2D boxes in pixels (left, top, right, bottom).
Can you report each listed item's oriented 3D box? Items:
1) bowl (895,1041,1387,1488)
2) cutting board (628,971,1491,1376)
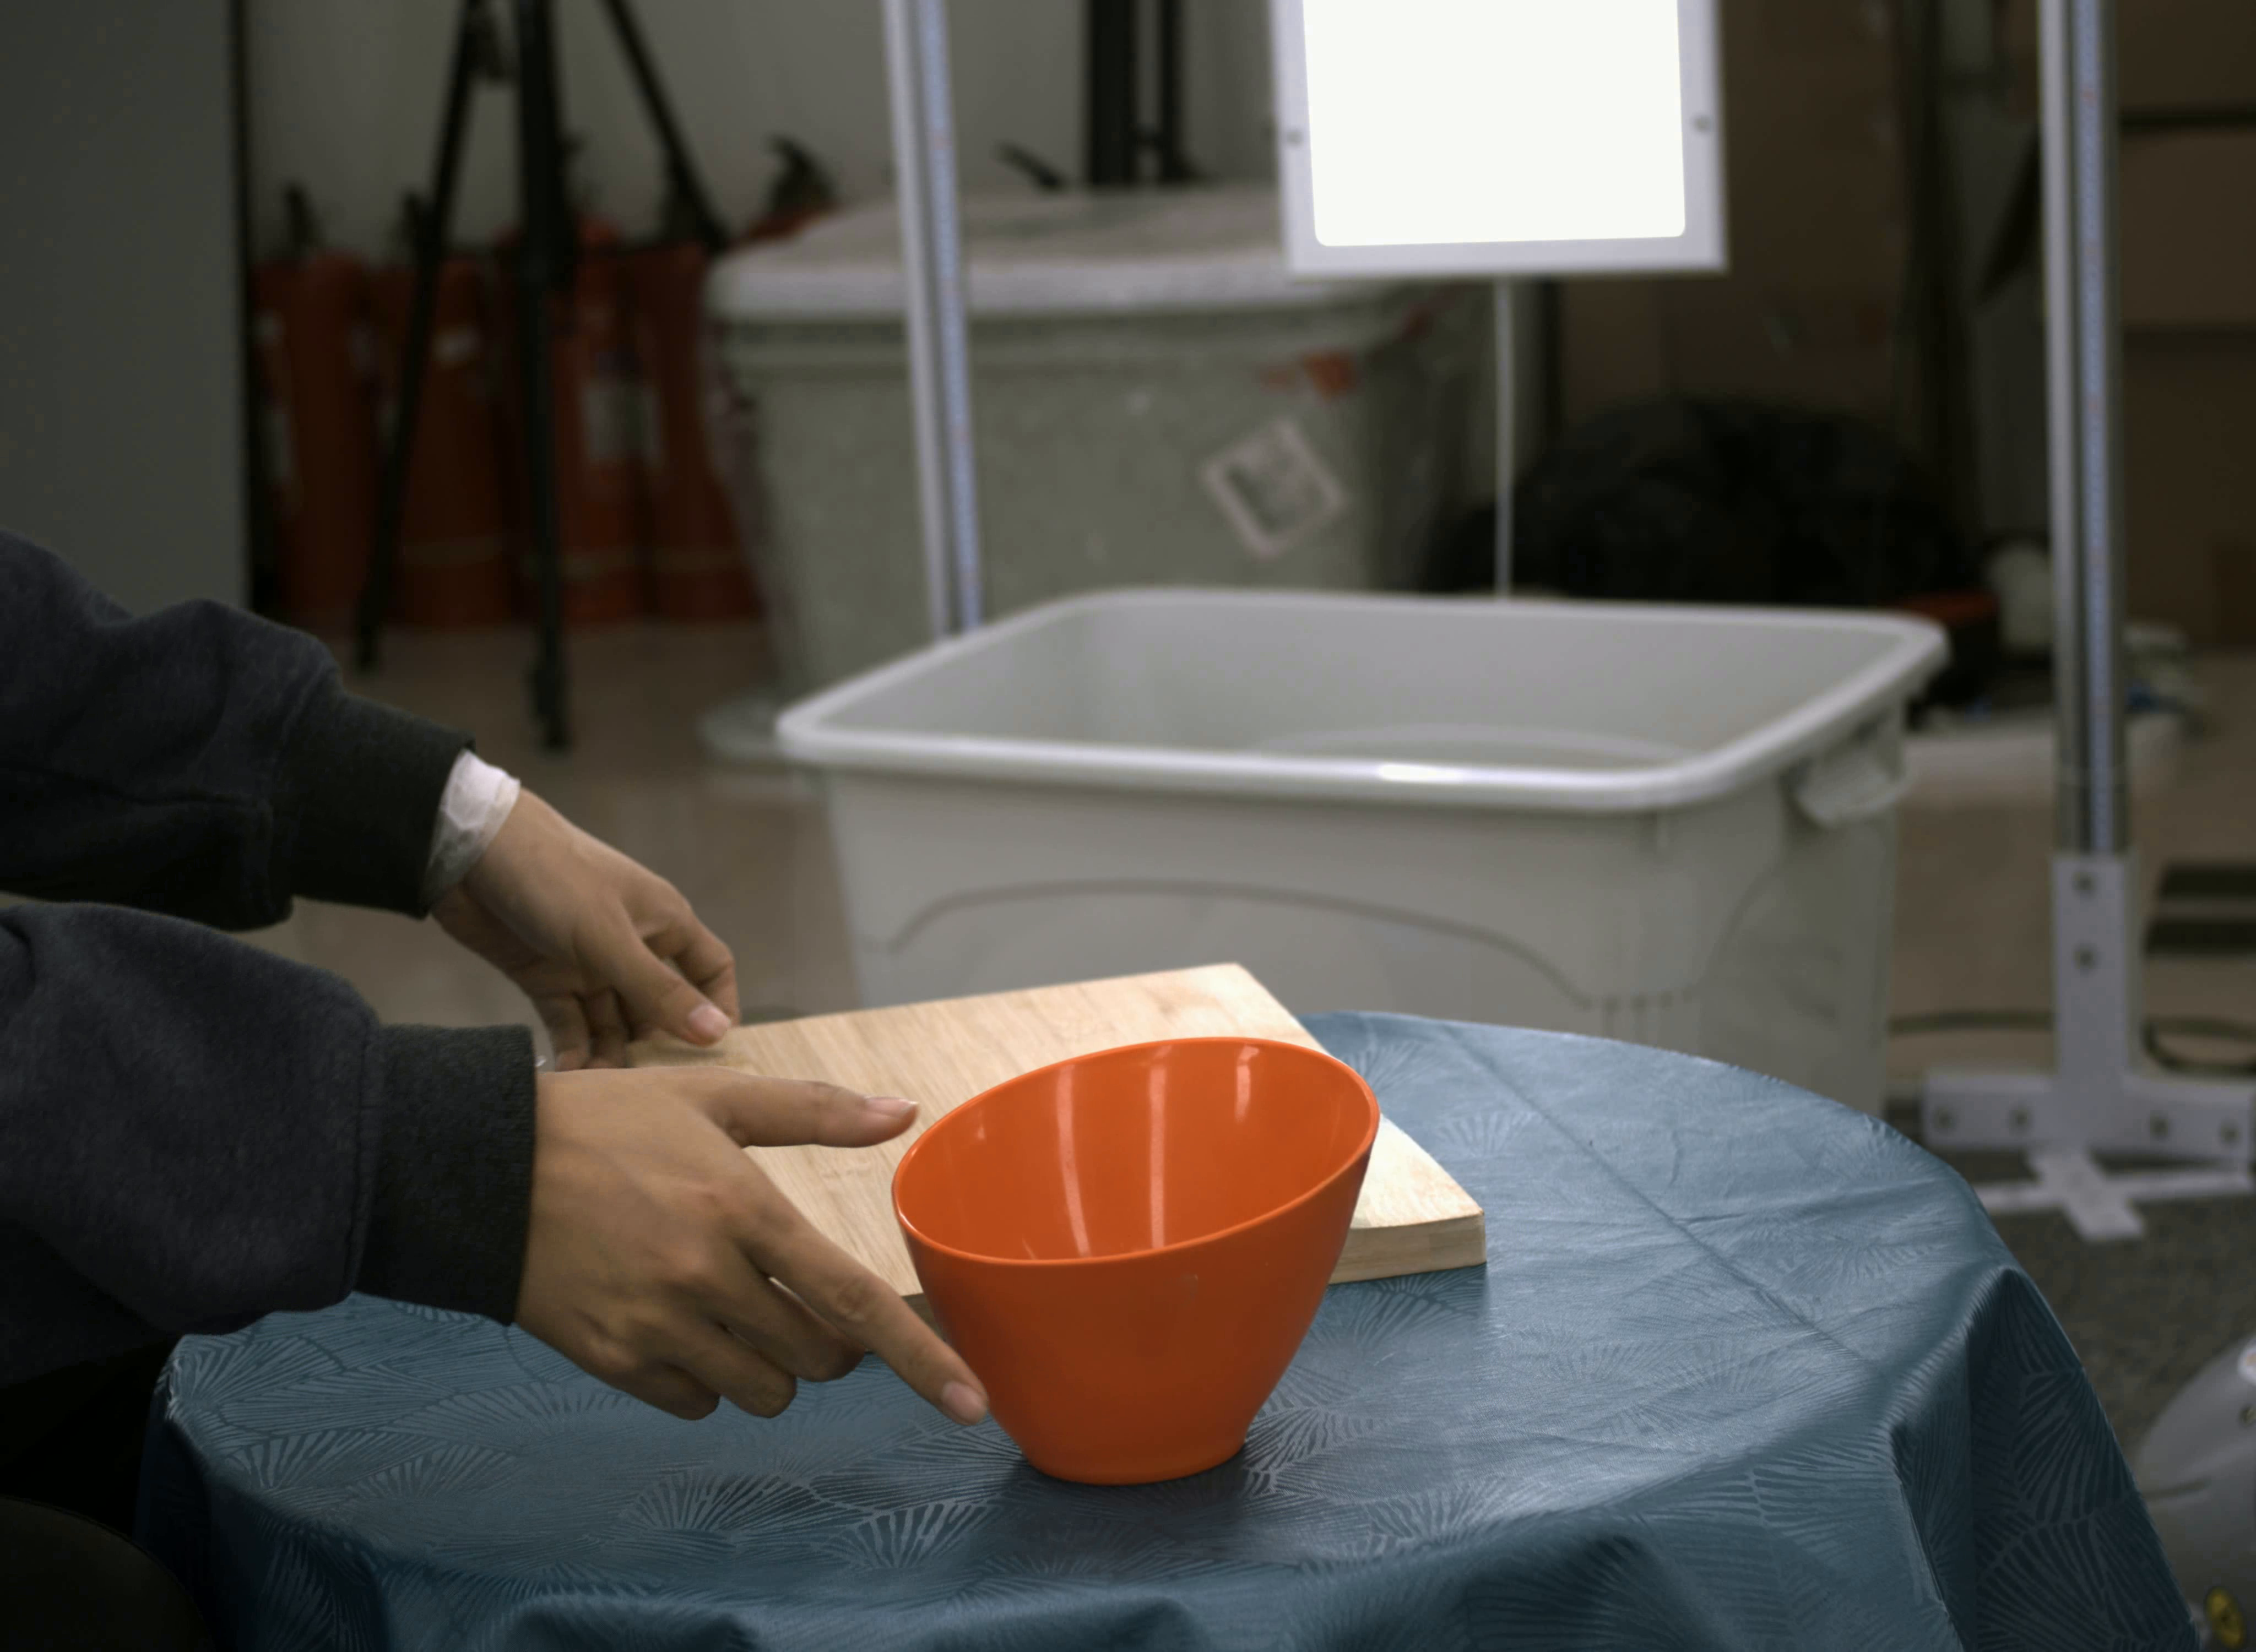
[{"bbox_3d":[0.005,0.135,1.647,0.147,0.105,0.148,-3,15,-1],"label":"bowl"},{"bbox_3d":[-0.035,0.115,1.925,0.248,0.023,0.351,-8,14,-11],"label":"cutting board"}]
